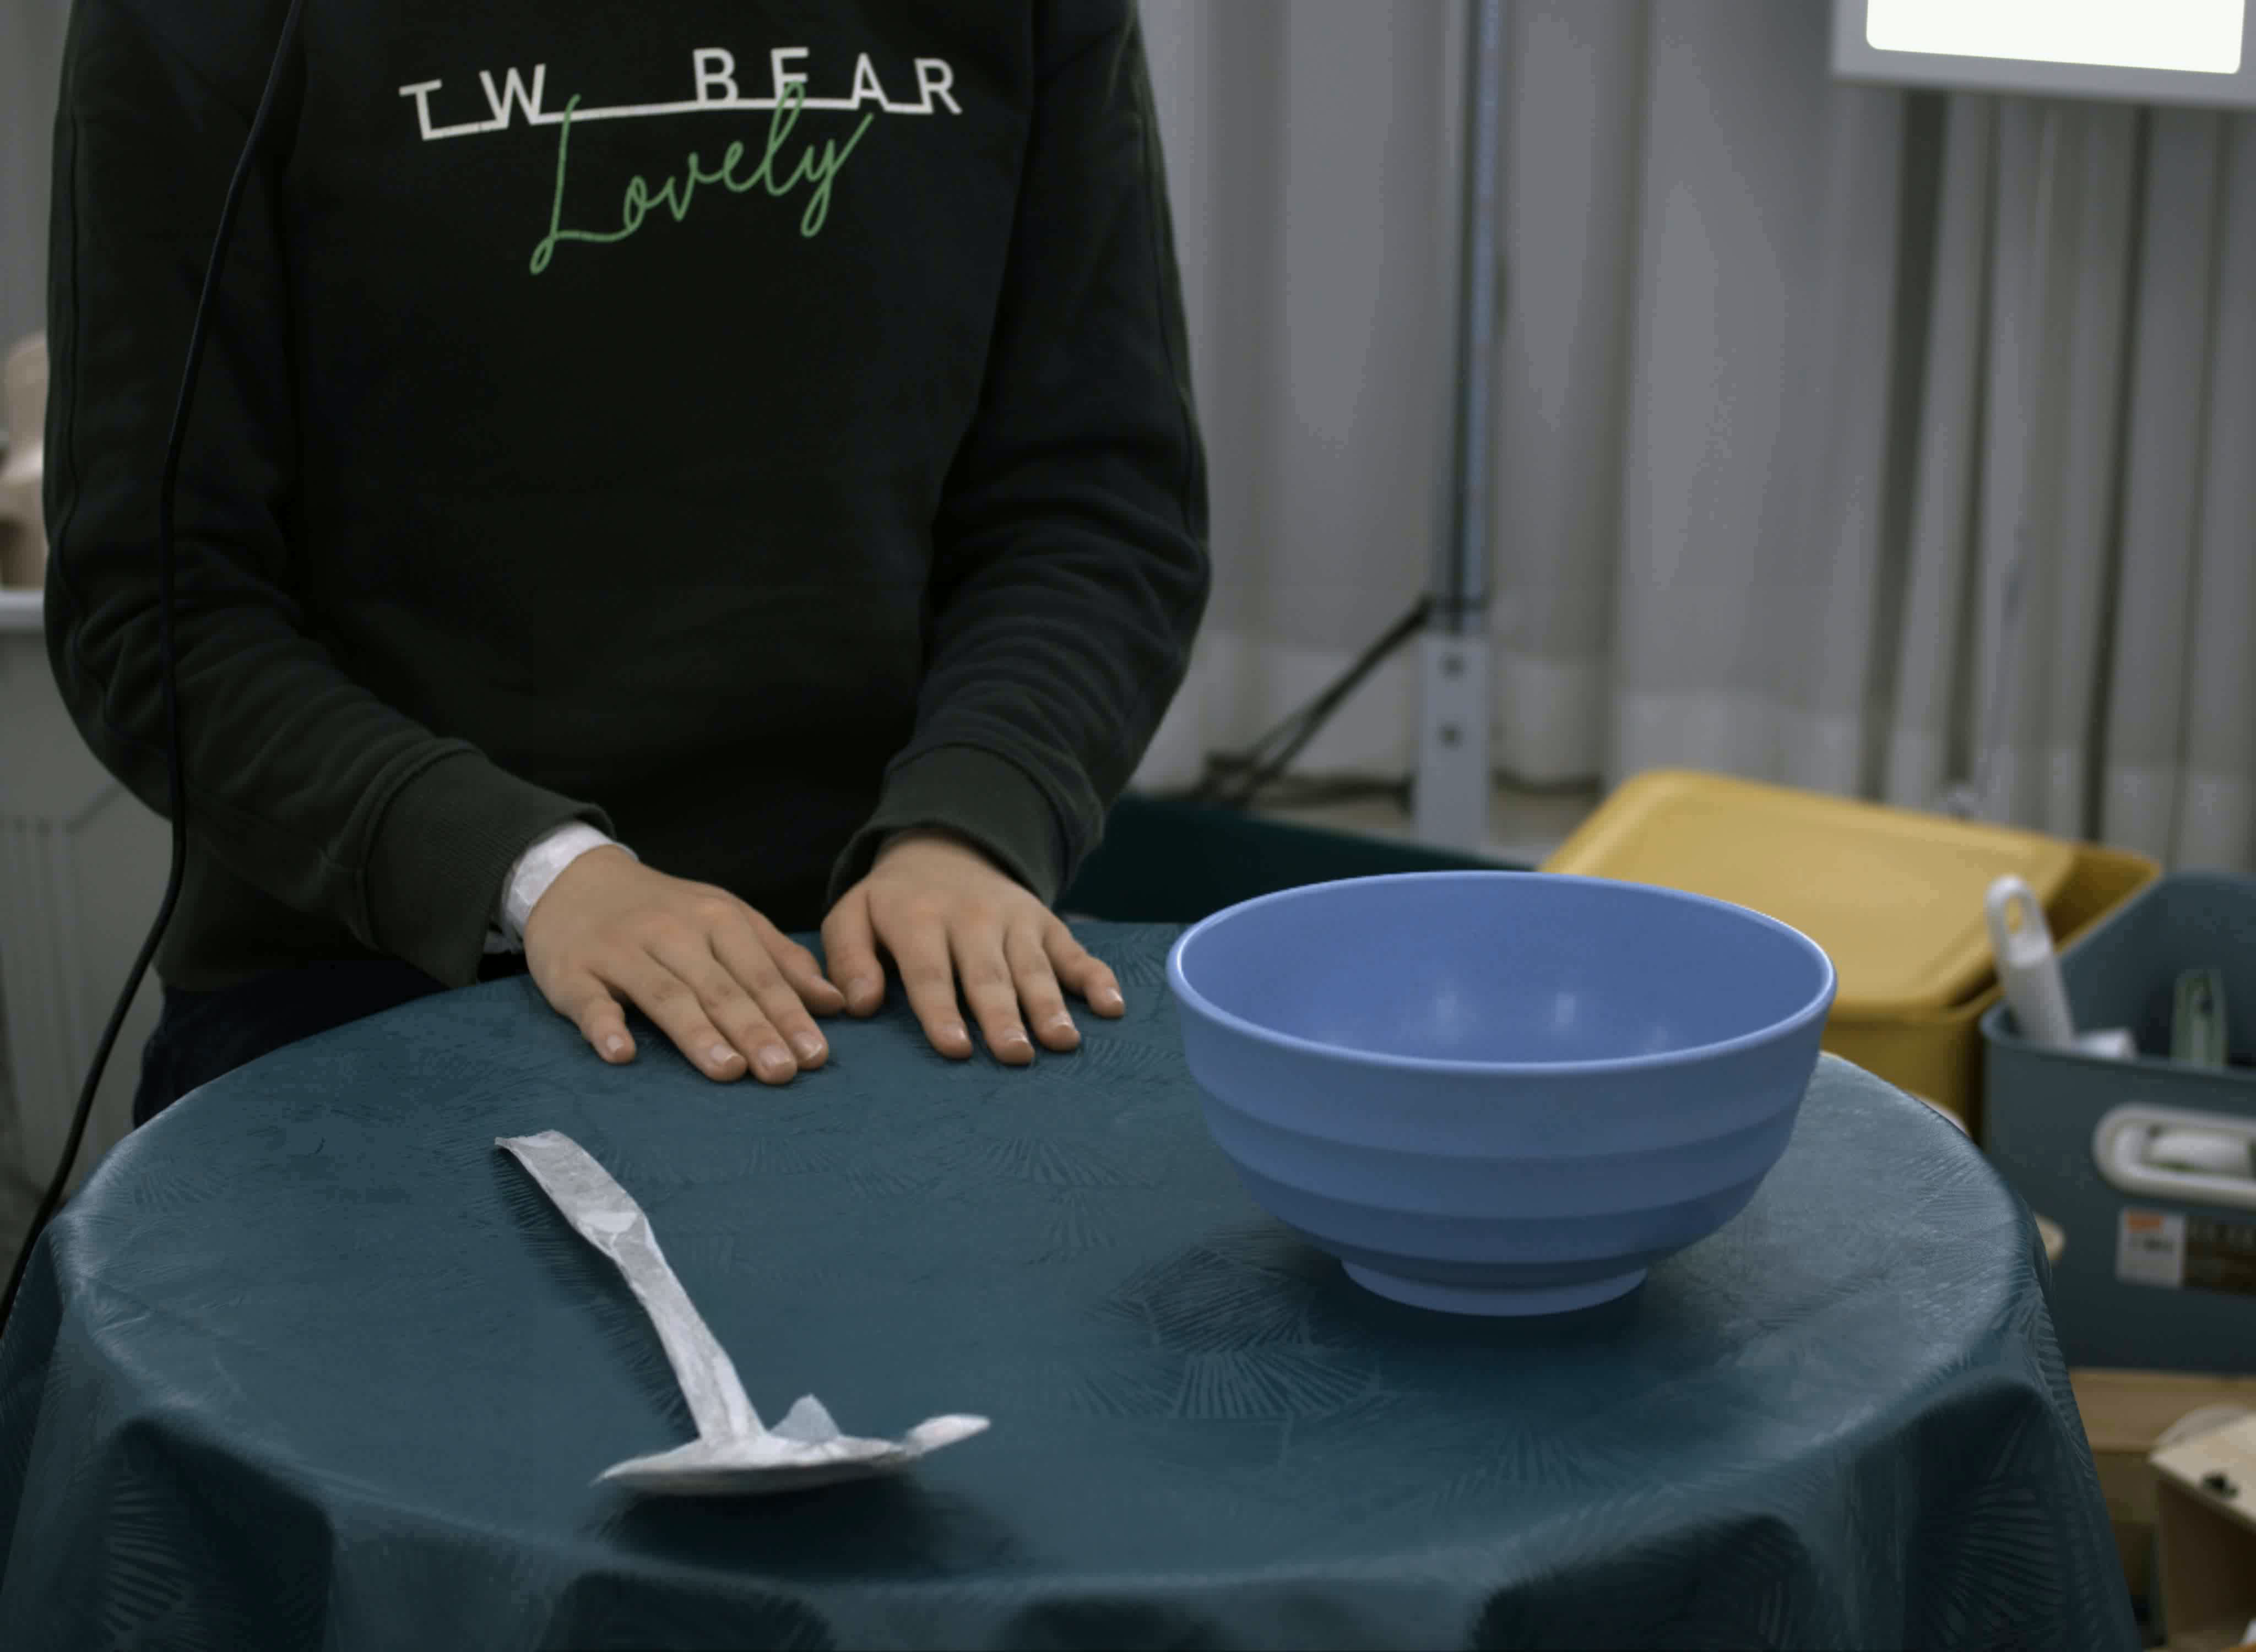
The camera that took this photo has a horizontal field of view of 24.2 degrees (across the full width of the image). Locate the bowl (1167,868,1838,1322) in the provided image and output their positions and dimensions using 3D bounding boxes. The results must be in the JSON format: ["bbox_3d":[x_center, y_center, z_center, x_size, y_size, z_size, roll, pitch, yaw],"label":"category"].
[{"bbox_3d":[0.109,0.086,1.554,0.196,0.096,0.195,1,17,0],"label":"bowl"}]

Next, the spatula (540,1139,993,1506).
[{"bbox_3d":[-0.127,0.131,1.487,0.099,0.045,0.361,-6,17,-16],"label":"spatula"}]
